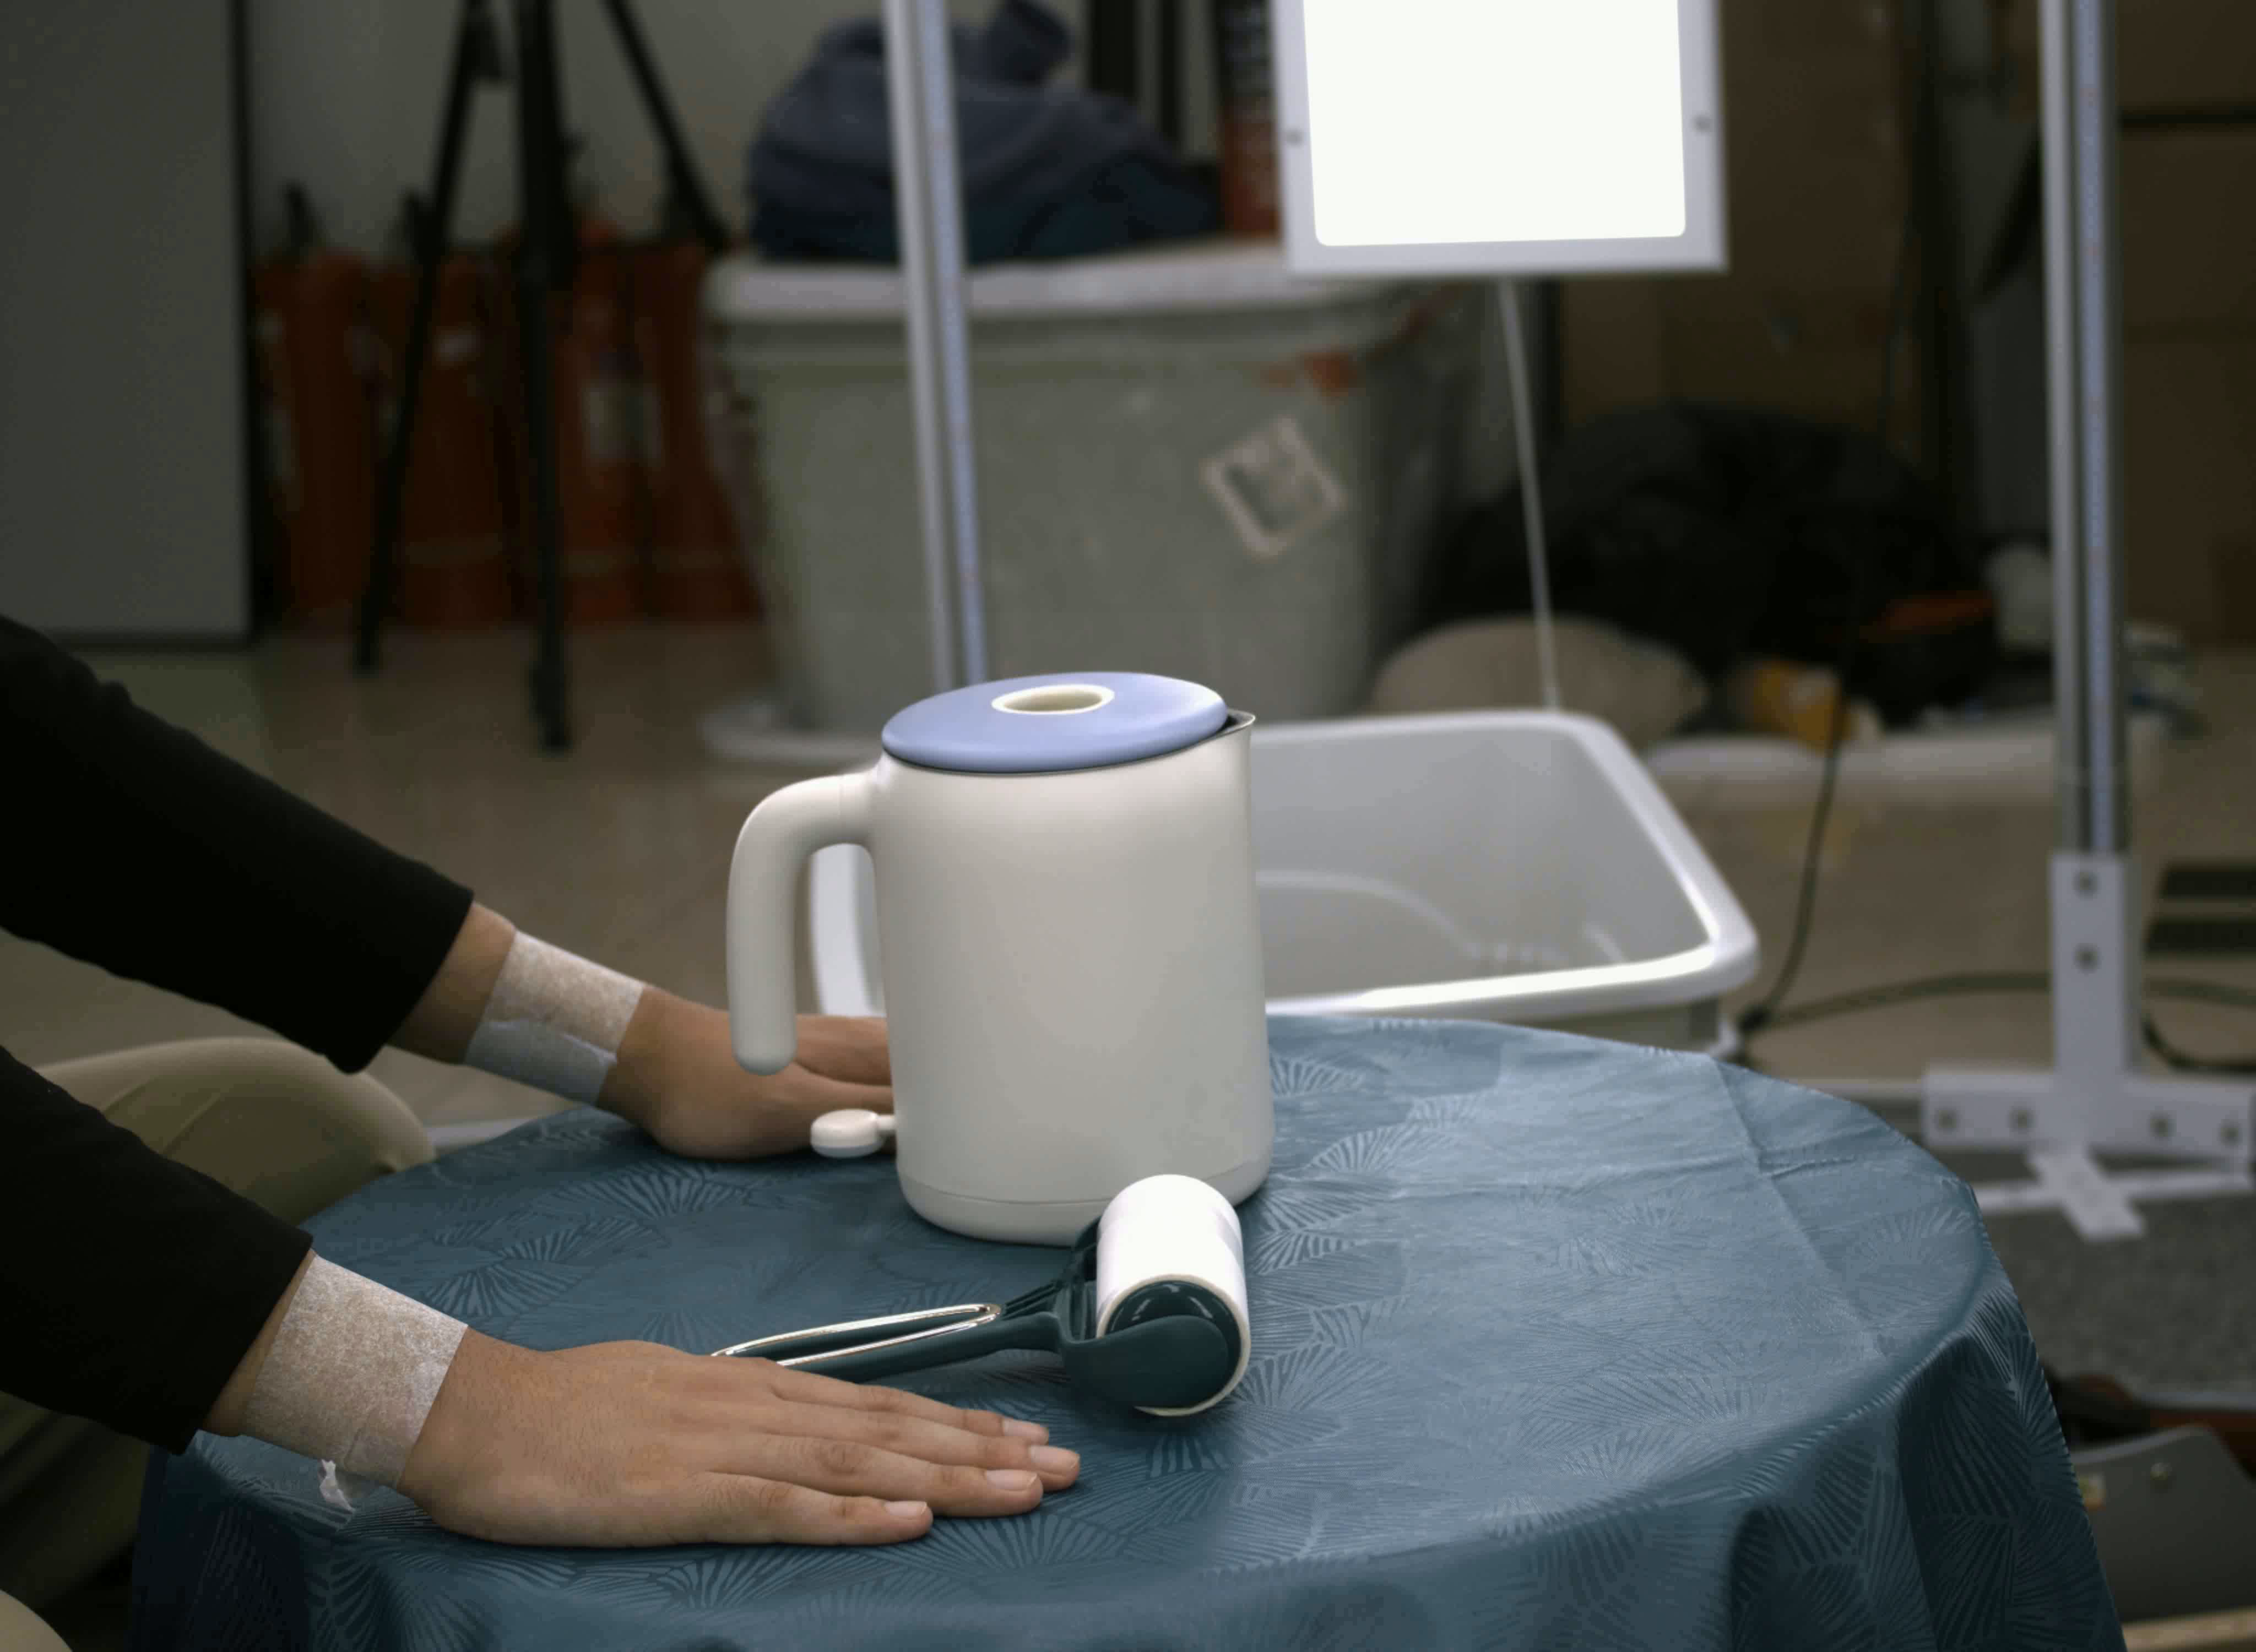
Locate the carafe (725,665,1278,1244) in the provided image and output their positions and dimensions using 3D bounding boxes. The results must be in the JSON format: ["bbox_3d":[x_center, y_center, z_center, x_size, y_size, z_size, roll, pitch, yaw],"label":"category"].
[{"bbox_3d":[-0.044,0.046,1.884,0.191,0.183,0.132,-6,13,3],"label":"carafe"}]

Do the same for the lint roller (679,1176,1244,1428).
[{"bbox_3d":[-0.054,0.153,1.720,0.180,0.048,0.134,-7,13,3],"label":"lint roller"}]
